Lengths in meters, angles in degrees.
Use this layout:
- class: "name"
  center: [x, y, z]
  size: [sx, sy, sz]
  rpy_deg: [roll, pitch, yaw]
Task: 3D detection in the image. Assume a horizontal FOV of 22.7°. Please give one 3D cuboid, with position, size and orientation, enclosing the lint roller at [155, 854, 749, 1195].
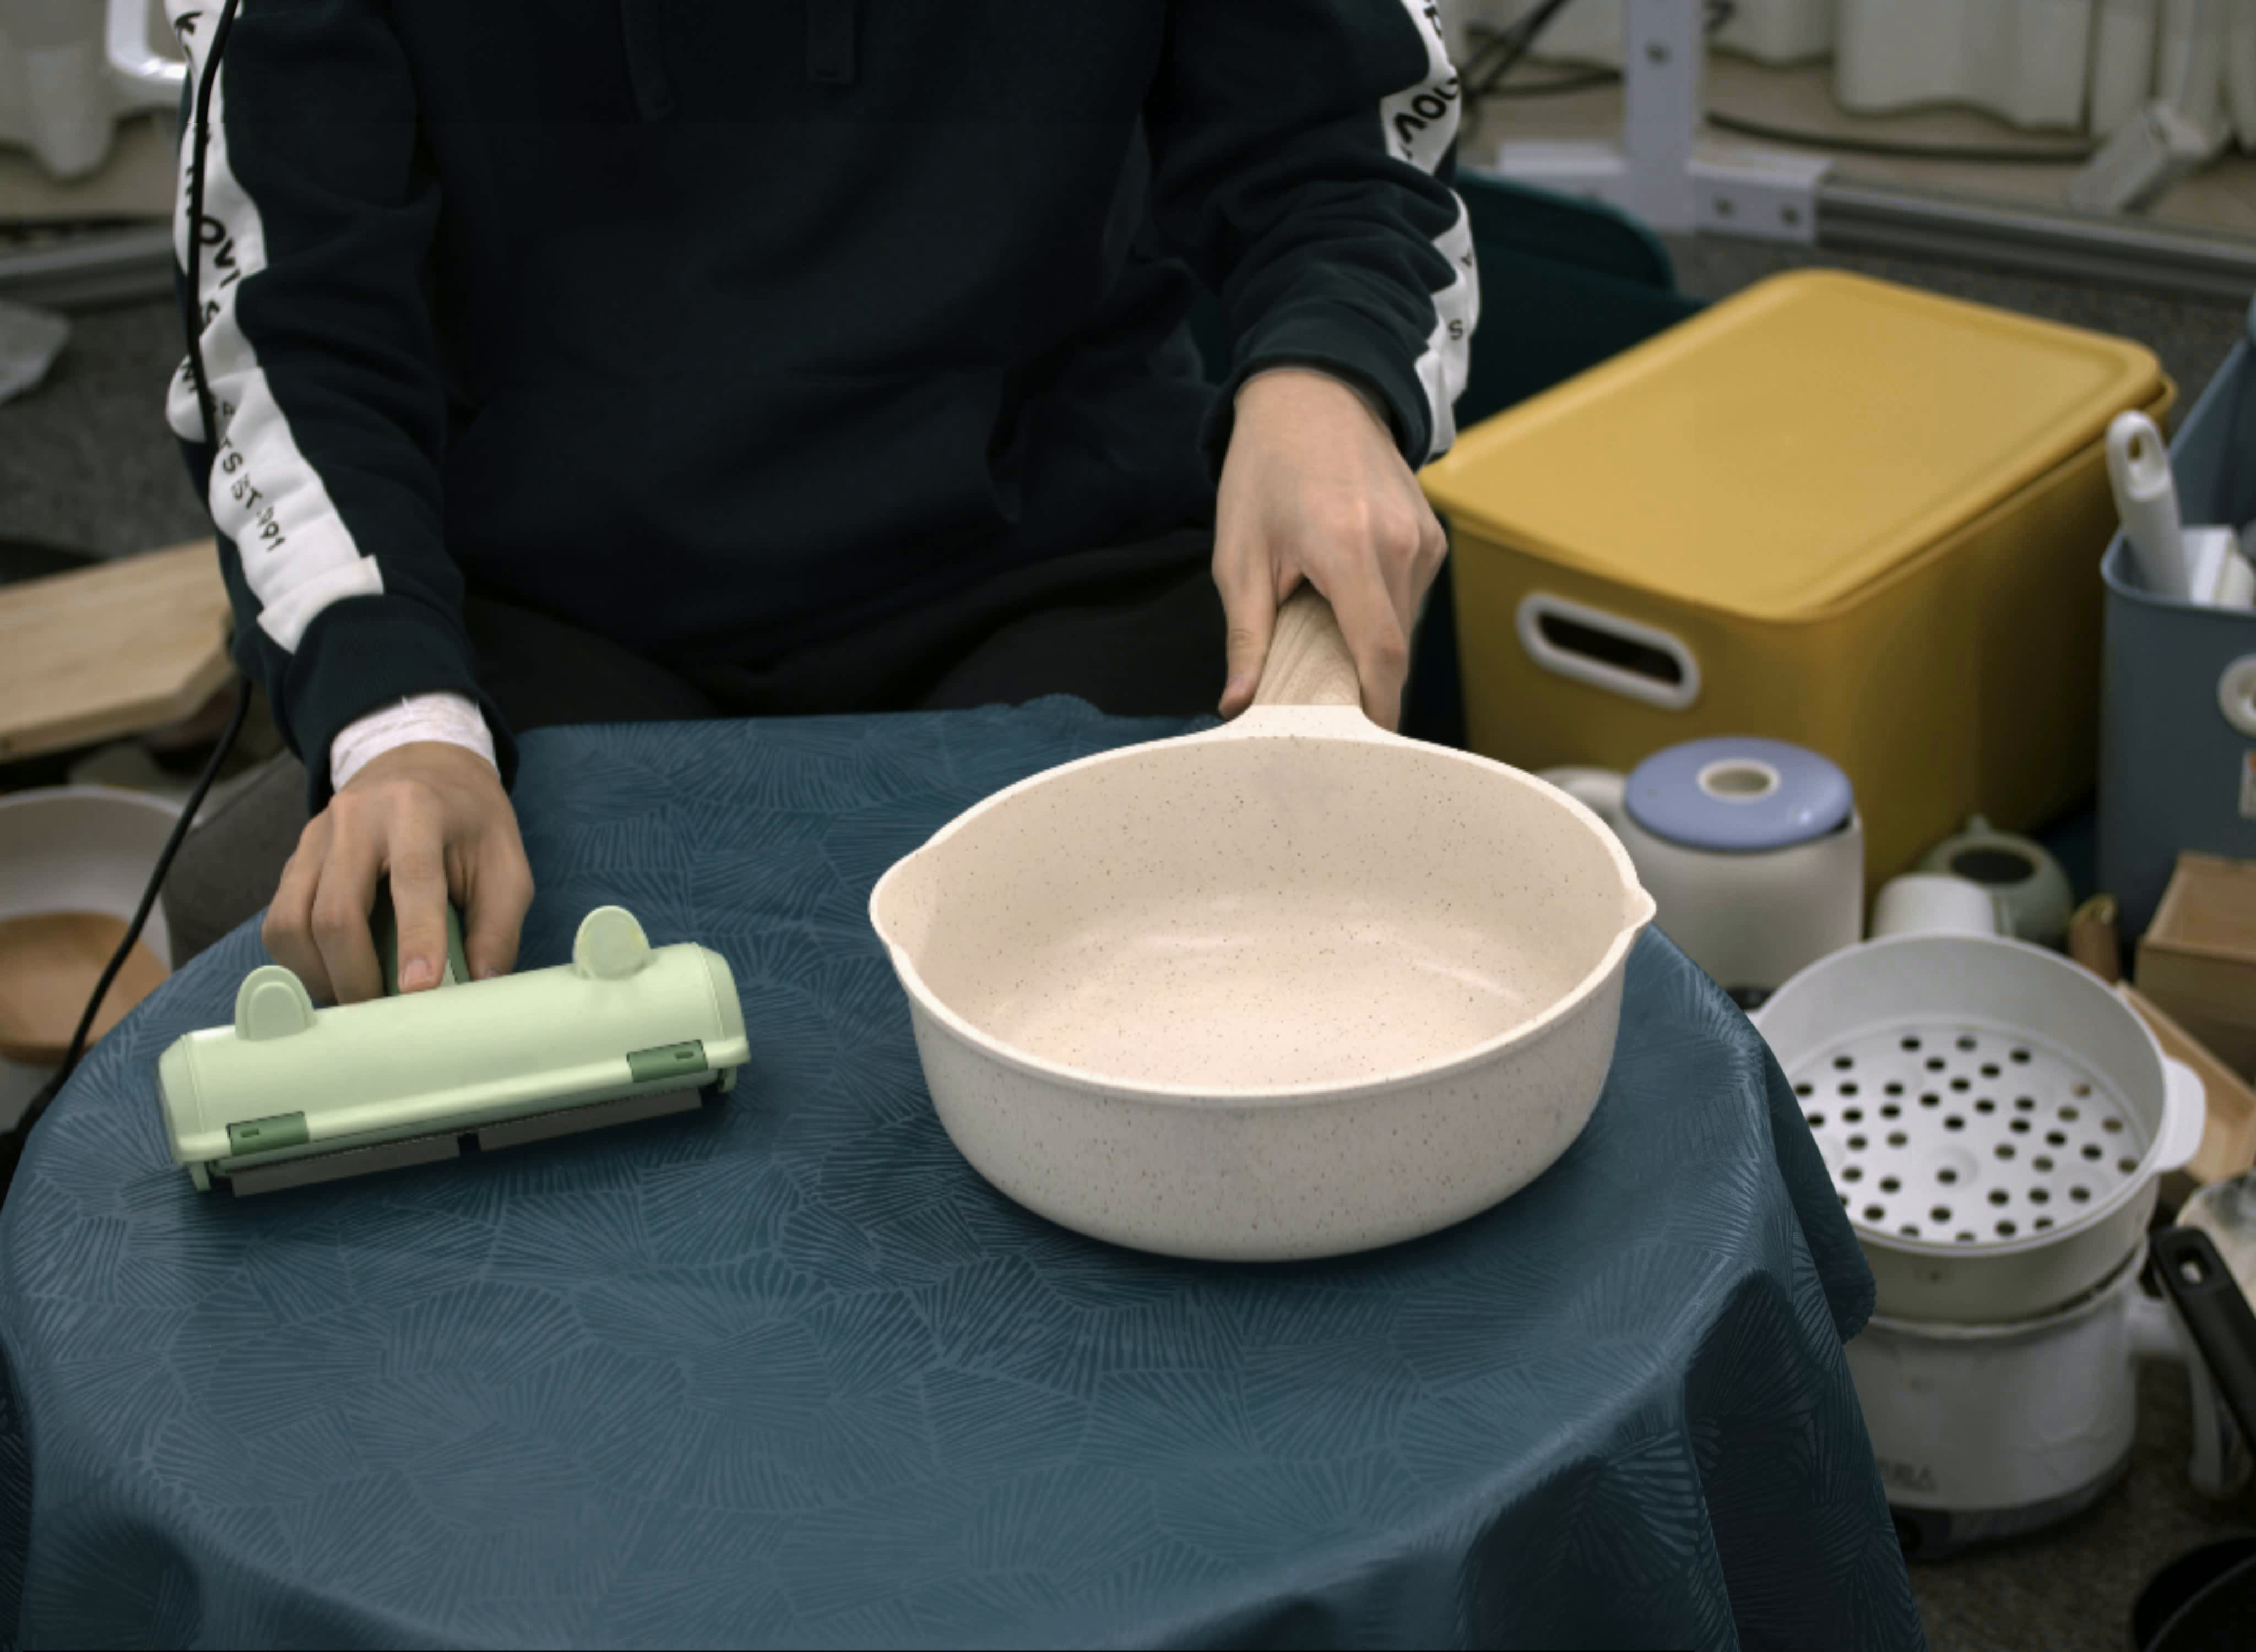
- class: "lint roller"
  center: [-0.244, 0.044, 1.941]
  size: [0.198, 0.081, 0.186]
  rpy_deg: [-10, 38, -13]

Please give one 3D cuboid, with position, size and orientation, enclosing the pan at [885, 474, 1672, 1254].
- class: "pan"
  center: [0.062, 0.010, 1.962]
  size: [0.262, 0.101, 0.442]
  rpy_deg: [-1, 27, 8]
